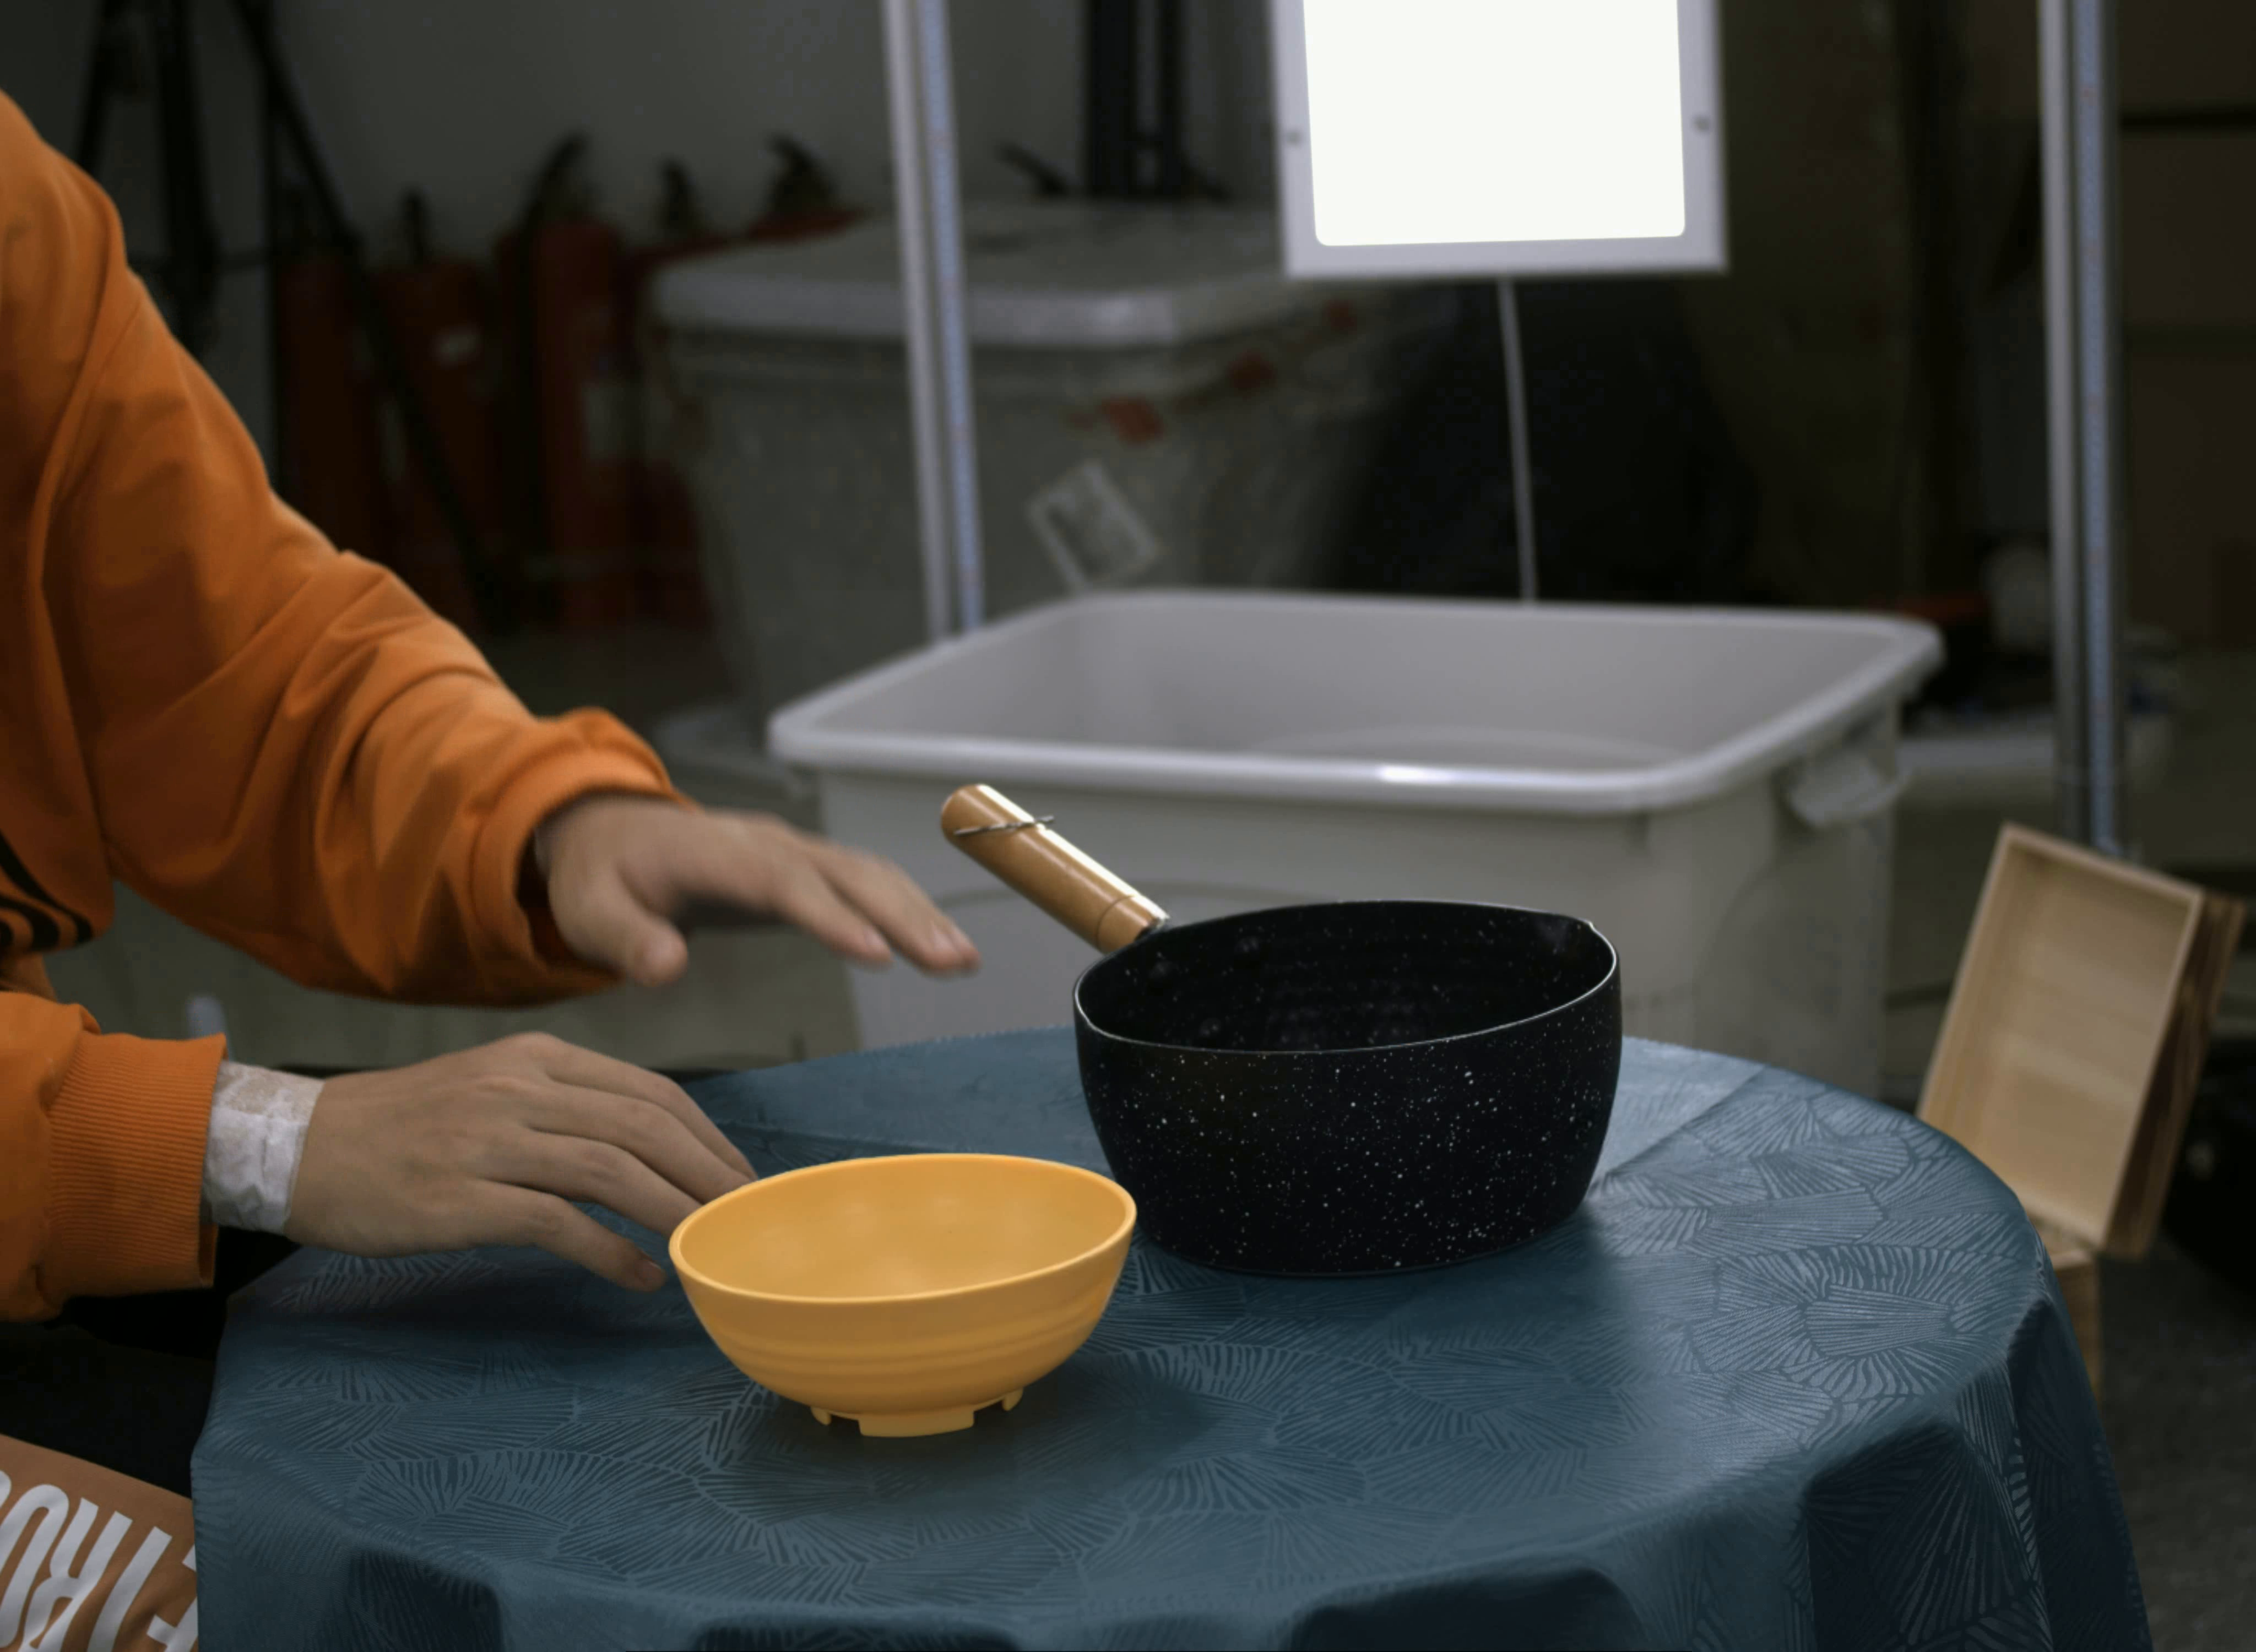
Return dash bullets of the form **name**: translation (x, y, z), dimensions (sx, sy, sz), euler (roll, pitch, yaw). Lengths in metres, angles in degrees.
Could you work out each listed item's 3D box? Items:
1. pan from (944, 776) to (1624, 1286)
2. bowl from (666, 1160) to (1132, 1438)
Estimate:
- **pan**: translation (0.032, 0.065, 1.910), dimensions (0.203, 0.108, 0.349), euler (-15, 18, -30)
- **bowl**: translation (-0.069, 0.150, 1.703), dimensions (0.145, 0.060, 0.145), euler (-4, 13, 0)
